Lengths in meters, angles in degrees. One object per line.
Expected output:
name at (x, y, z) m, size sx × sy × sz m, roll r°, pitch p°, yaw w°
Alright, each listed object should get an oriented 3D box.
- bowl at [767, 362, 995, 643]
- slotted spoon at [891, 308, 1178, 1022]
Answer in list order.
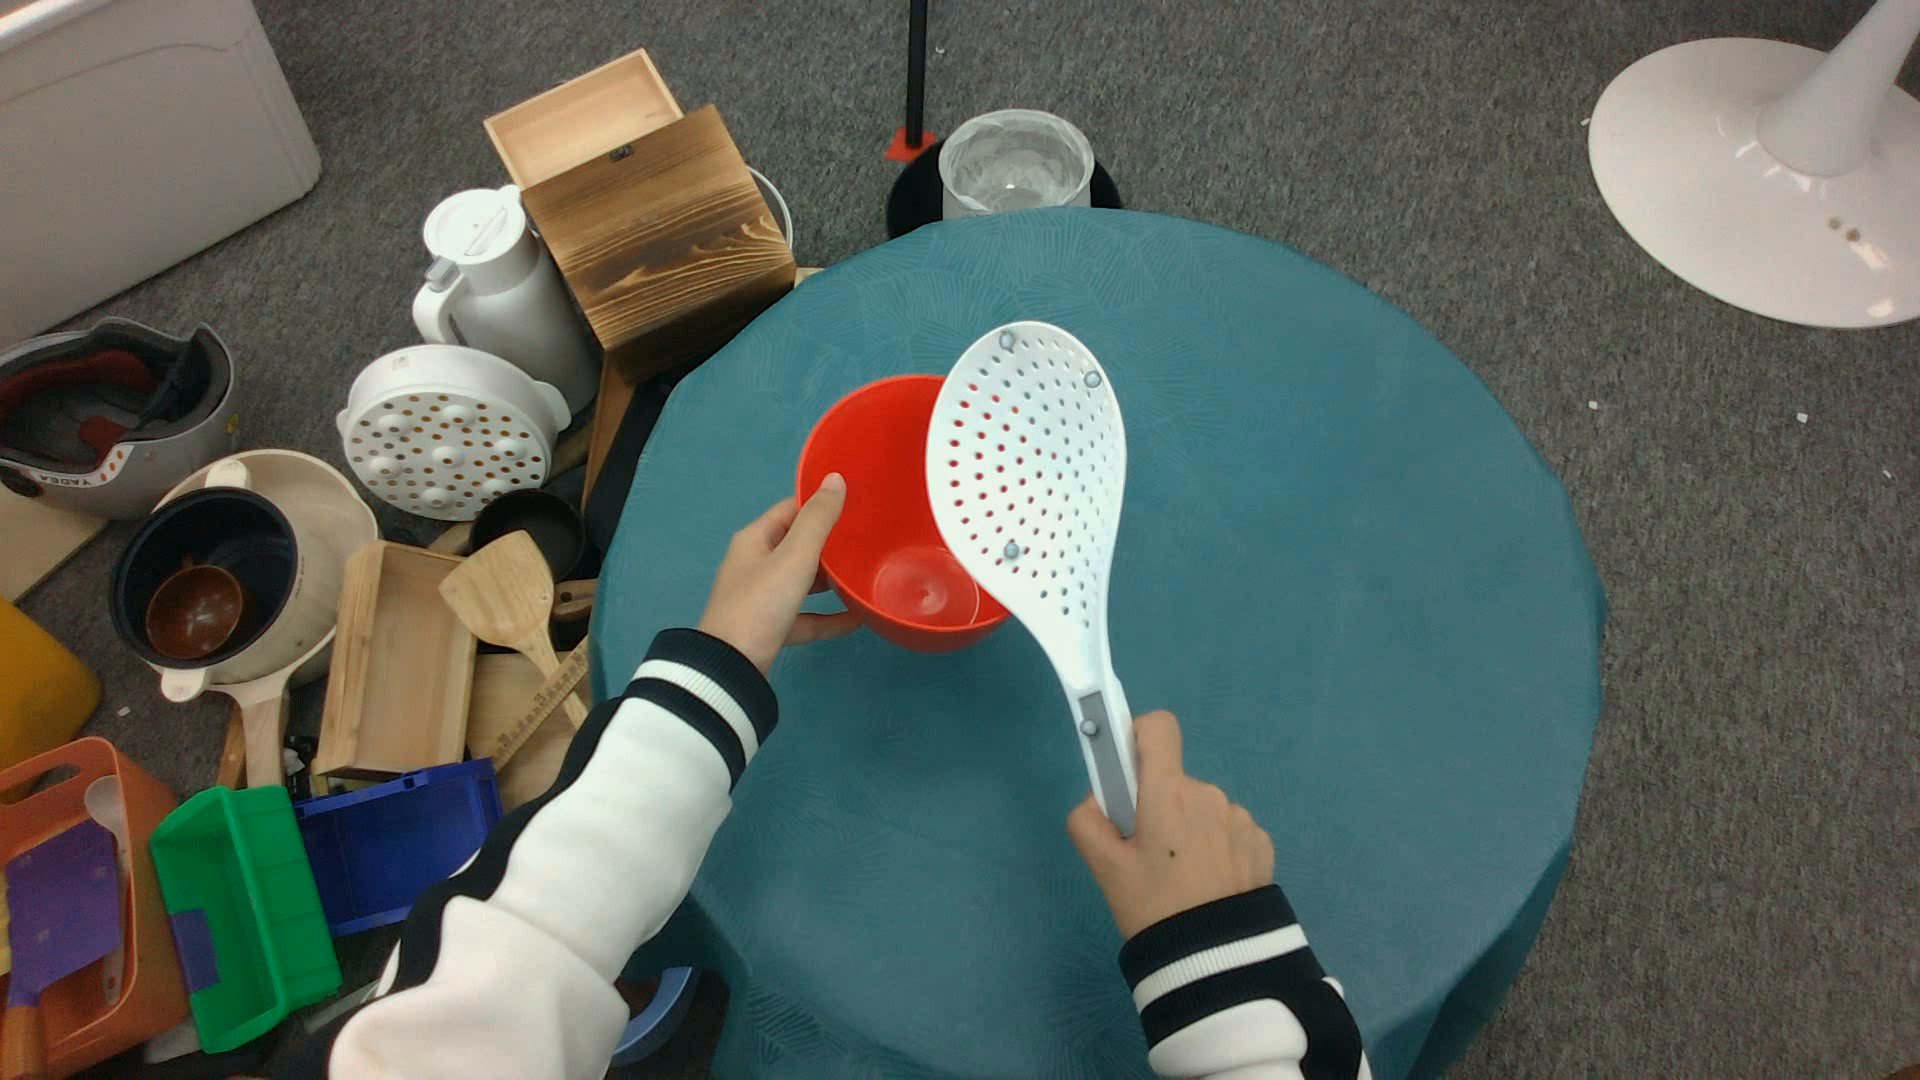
bowl at (-0.036, -0.008, 0.758) m, size 0.148 × 0.104 × 0.148 m, roll 7°, pitch 56°, yaw -10°
slotted spoon at (0.045, 0.053, 0.669) m, size 0.046 × 0.135 × 0.350 m, roll 7°, pitch 64°, yaw -46°
